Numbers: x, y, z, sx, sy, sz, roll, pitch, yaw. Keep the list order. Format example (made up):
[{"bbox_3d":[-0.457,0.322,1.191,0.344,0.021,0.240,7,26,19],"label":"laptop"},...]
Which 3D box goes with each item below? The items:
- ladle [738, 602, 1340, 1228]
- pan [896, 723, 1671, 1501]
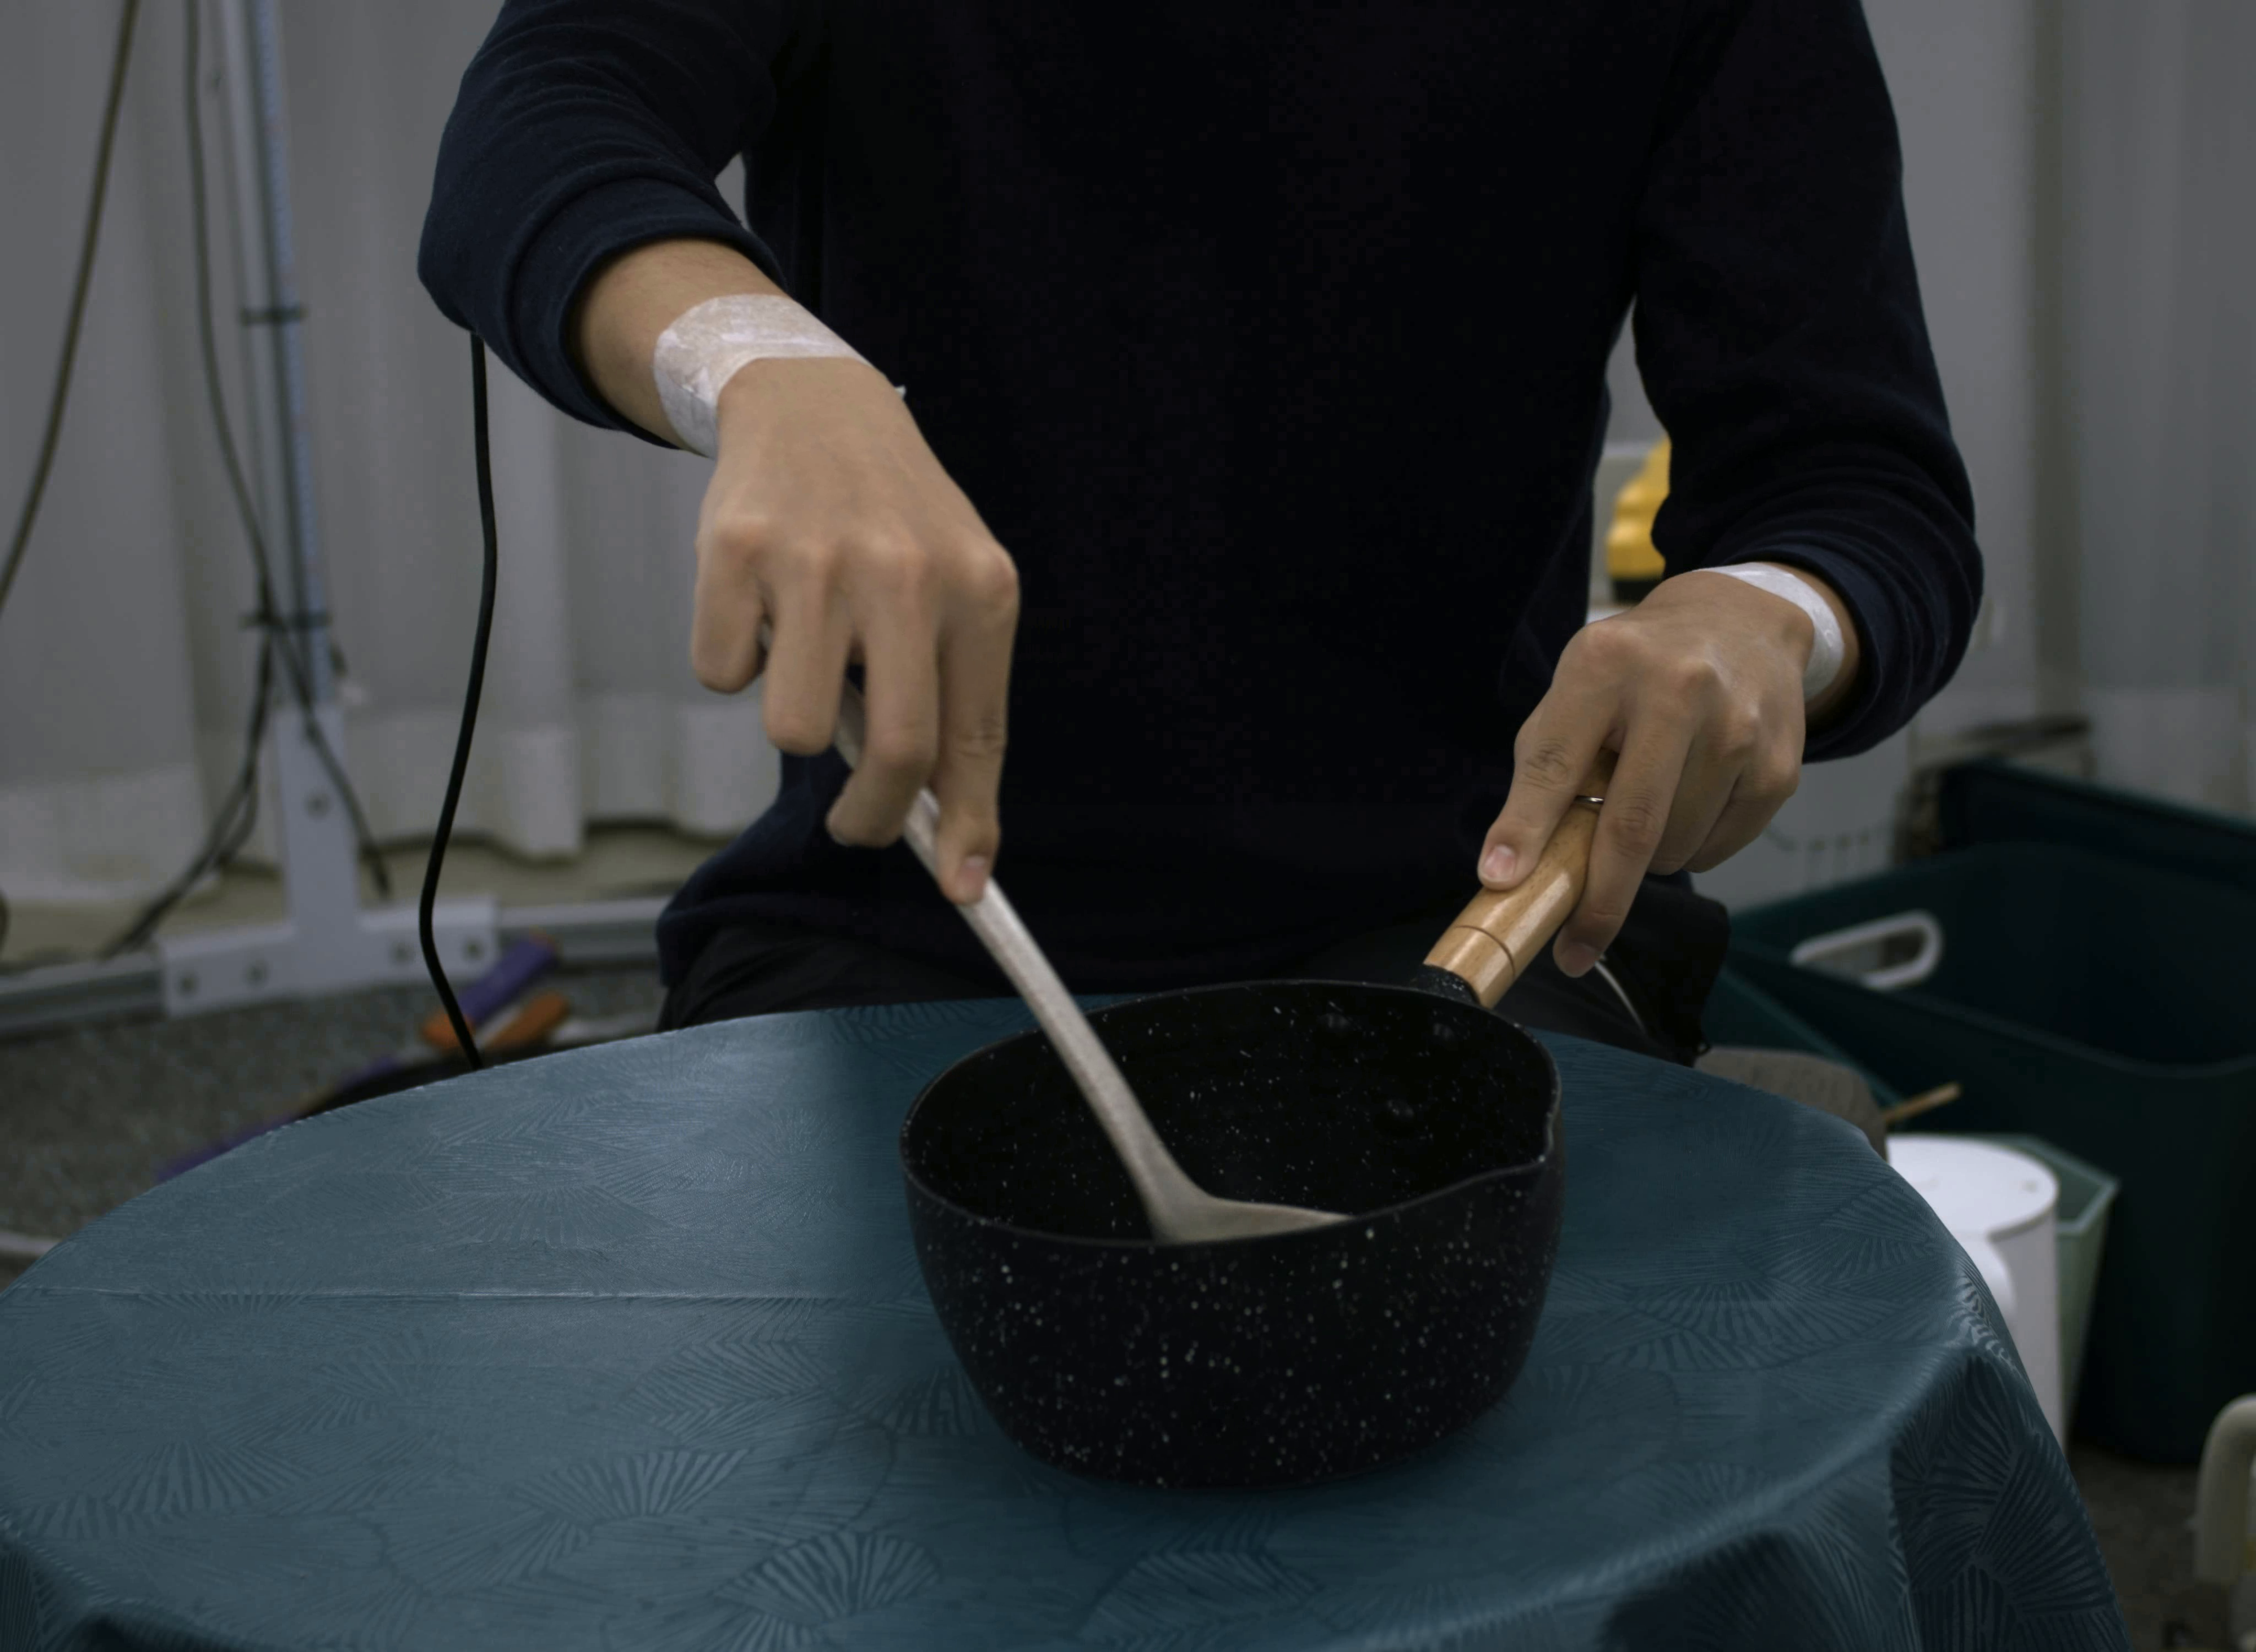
[{"bbox_3d":[-0.004,0.039,1.491,0.069,0.274,0.090,-28,12,24],"label":"ladle"},{"bbox_3d":[0.072,0.078,1.580,0.208,0.107,0.344,5,24,32],"label":"pan"}]
